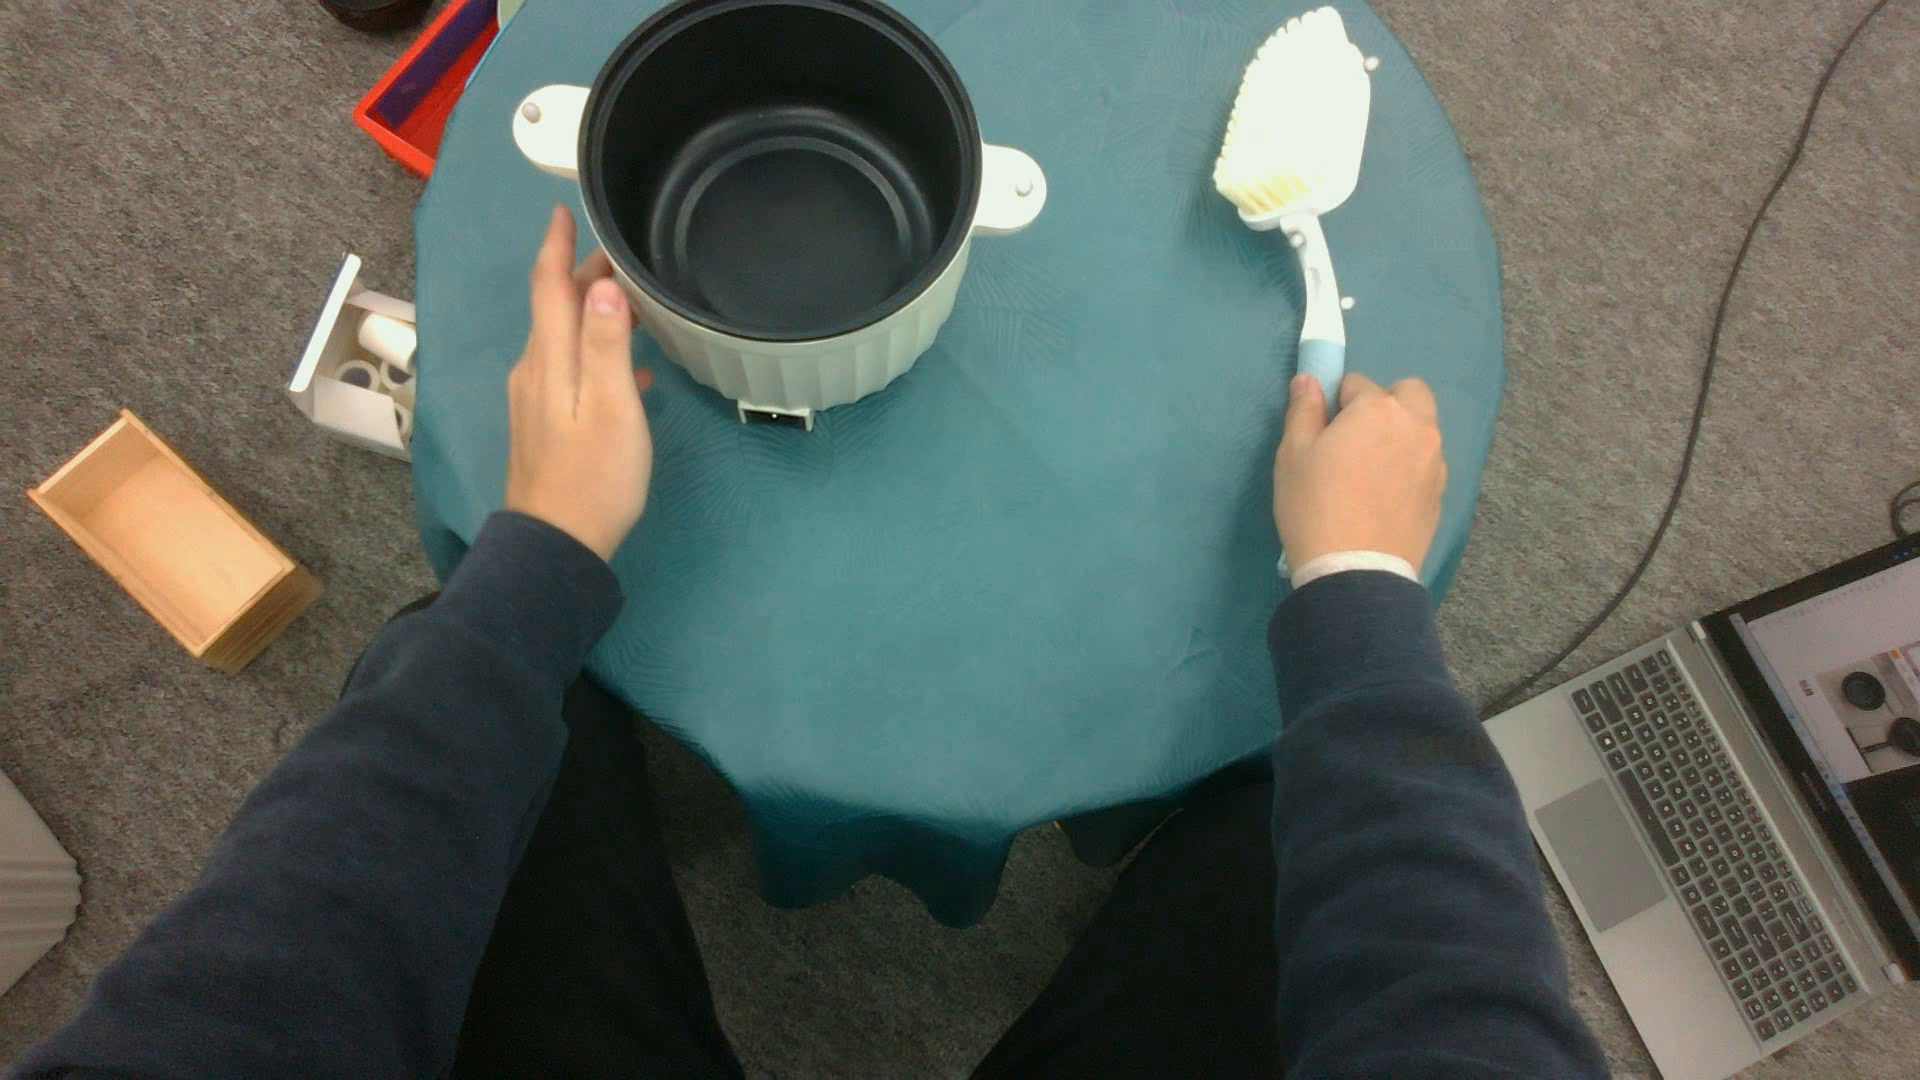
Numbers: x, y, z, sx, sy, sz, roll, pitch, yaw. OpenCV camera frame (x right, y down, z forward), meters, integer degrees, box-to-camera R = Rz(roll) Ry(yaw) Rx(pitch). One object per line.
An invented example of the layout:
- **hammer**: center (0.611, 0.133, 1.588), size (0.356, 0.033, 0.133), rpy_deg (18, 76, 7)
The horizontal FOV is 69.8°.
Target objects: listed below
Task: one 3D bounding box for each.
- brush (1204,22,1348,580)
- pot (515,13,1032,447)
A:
- **brush**: center (0.174, -0.142, 0.742), size (0.084, 0.083, 0.326), rpy_deg (7, 73, -6)
- **pot**: center (-0.090, -0.155, 0.703), size (0.240, 0.142, 0.191), rpy_deg (4, 78, -3)
